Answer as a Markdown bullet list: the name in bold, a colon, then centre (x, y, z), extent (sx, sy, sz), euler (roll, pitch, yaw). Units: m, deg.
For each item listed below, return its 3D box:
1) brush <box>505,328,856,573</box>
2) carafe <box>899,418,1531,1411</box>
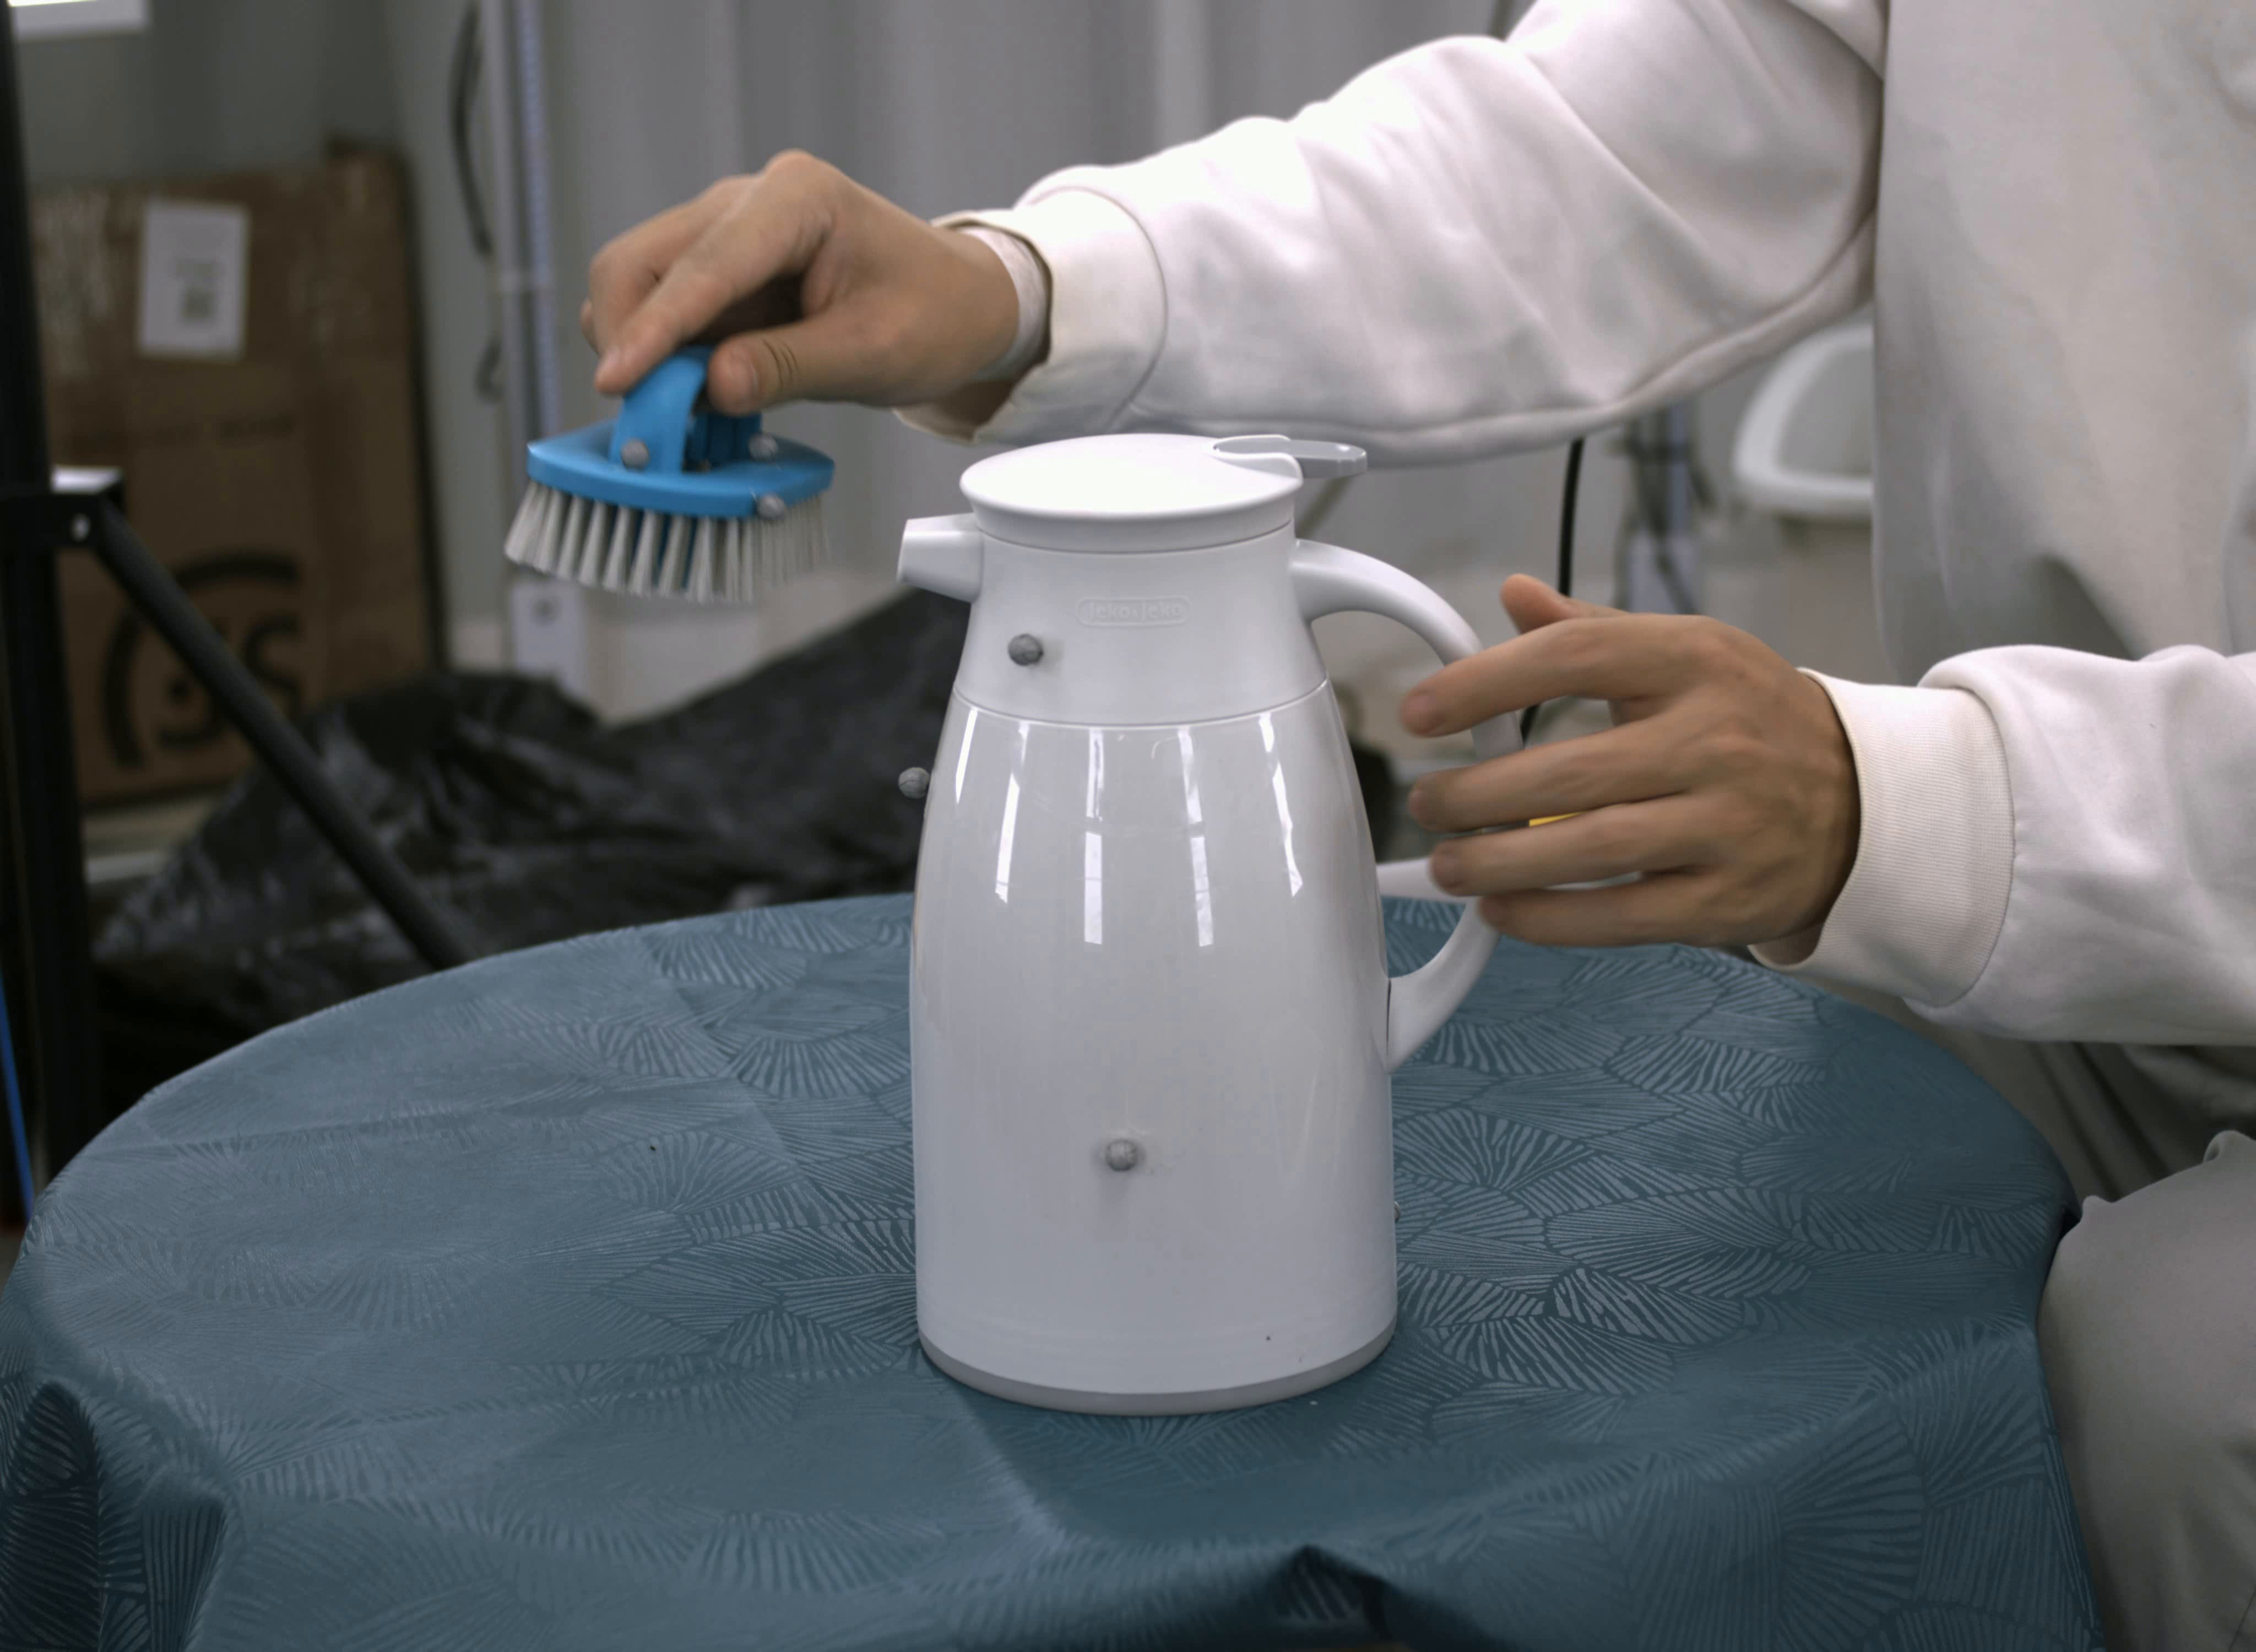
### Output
- **brush**: centre (-0.128, -0.112, 1.561), extent (0.085, 0.064, 0.140), euler (8, 10, 13)
- **carafe**: centre (0.024, 0.016, 1.422), extent (0.167, 0.248, 0.133), euler (-1, 15, 2)
